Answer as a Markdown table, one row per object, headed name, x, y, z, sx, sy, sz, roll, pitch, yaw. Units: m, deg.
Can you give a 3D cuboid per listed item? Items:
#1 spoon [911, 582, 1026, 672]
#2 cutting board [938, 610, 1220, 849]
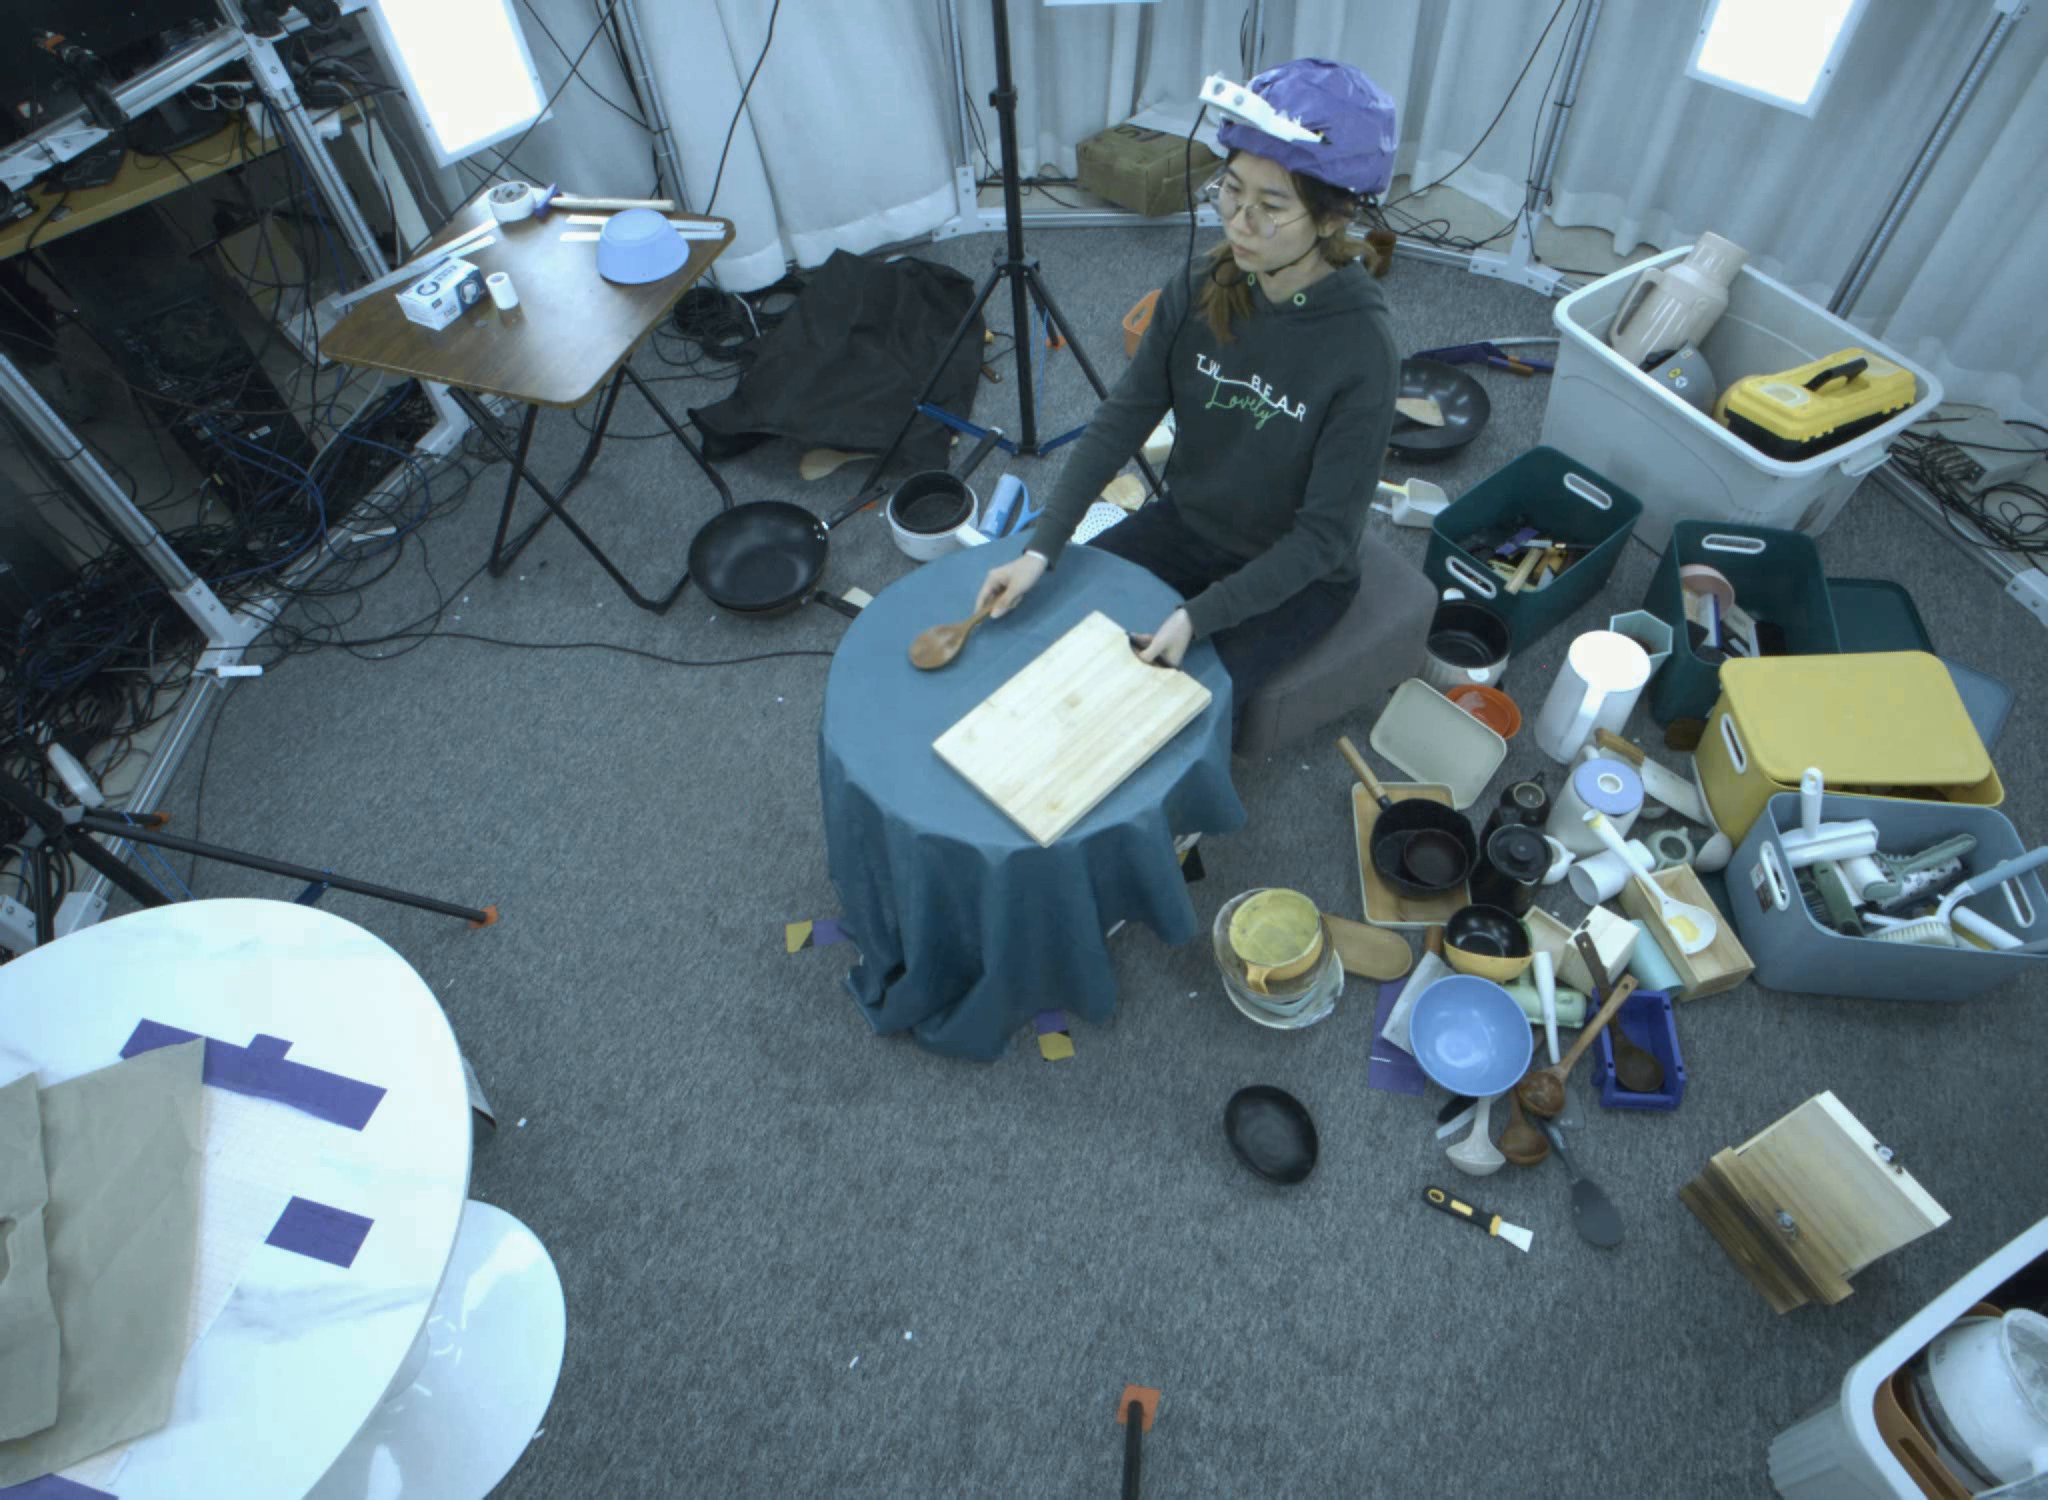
| name | x | y | z | sx | sy | sz | roll | pitch | yaw |
| --- | --- | --- | --- | --- | --- | --- | --- | --- | --- |
| spoon | -0.084 | -0.192 | 1.909 | 0.217 | 0.017 | 0.074 | -39 | 58 | -11 |
| cutting board | 0.078 | -0.040 | 1.798 | 0.350 | 0.024 | 0.246 | -42 | 64 | -19 |
